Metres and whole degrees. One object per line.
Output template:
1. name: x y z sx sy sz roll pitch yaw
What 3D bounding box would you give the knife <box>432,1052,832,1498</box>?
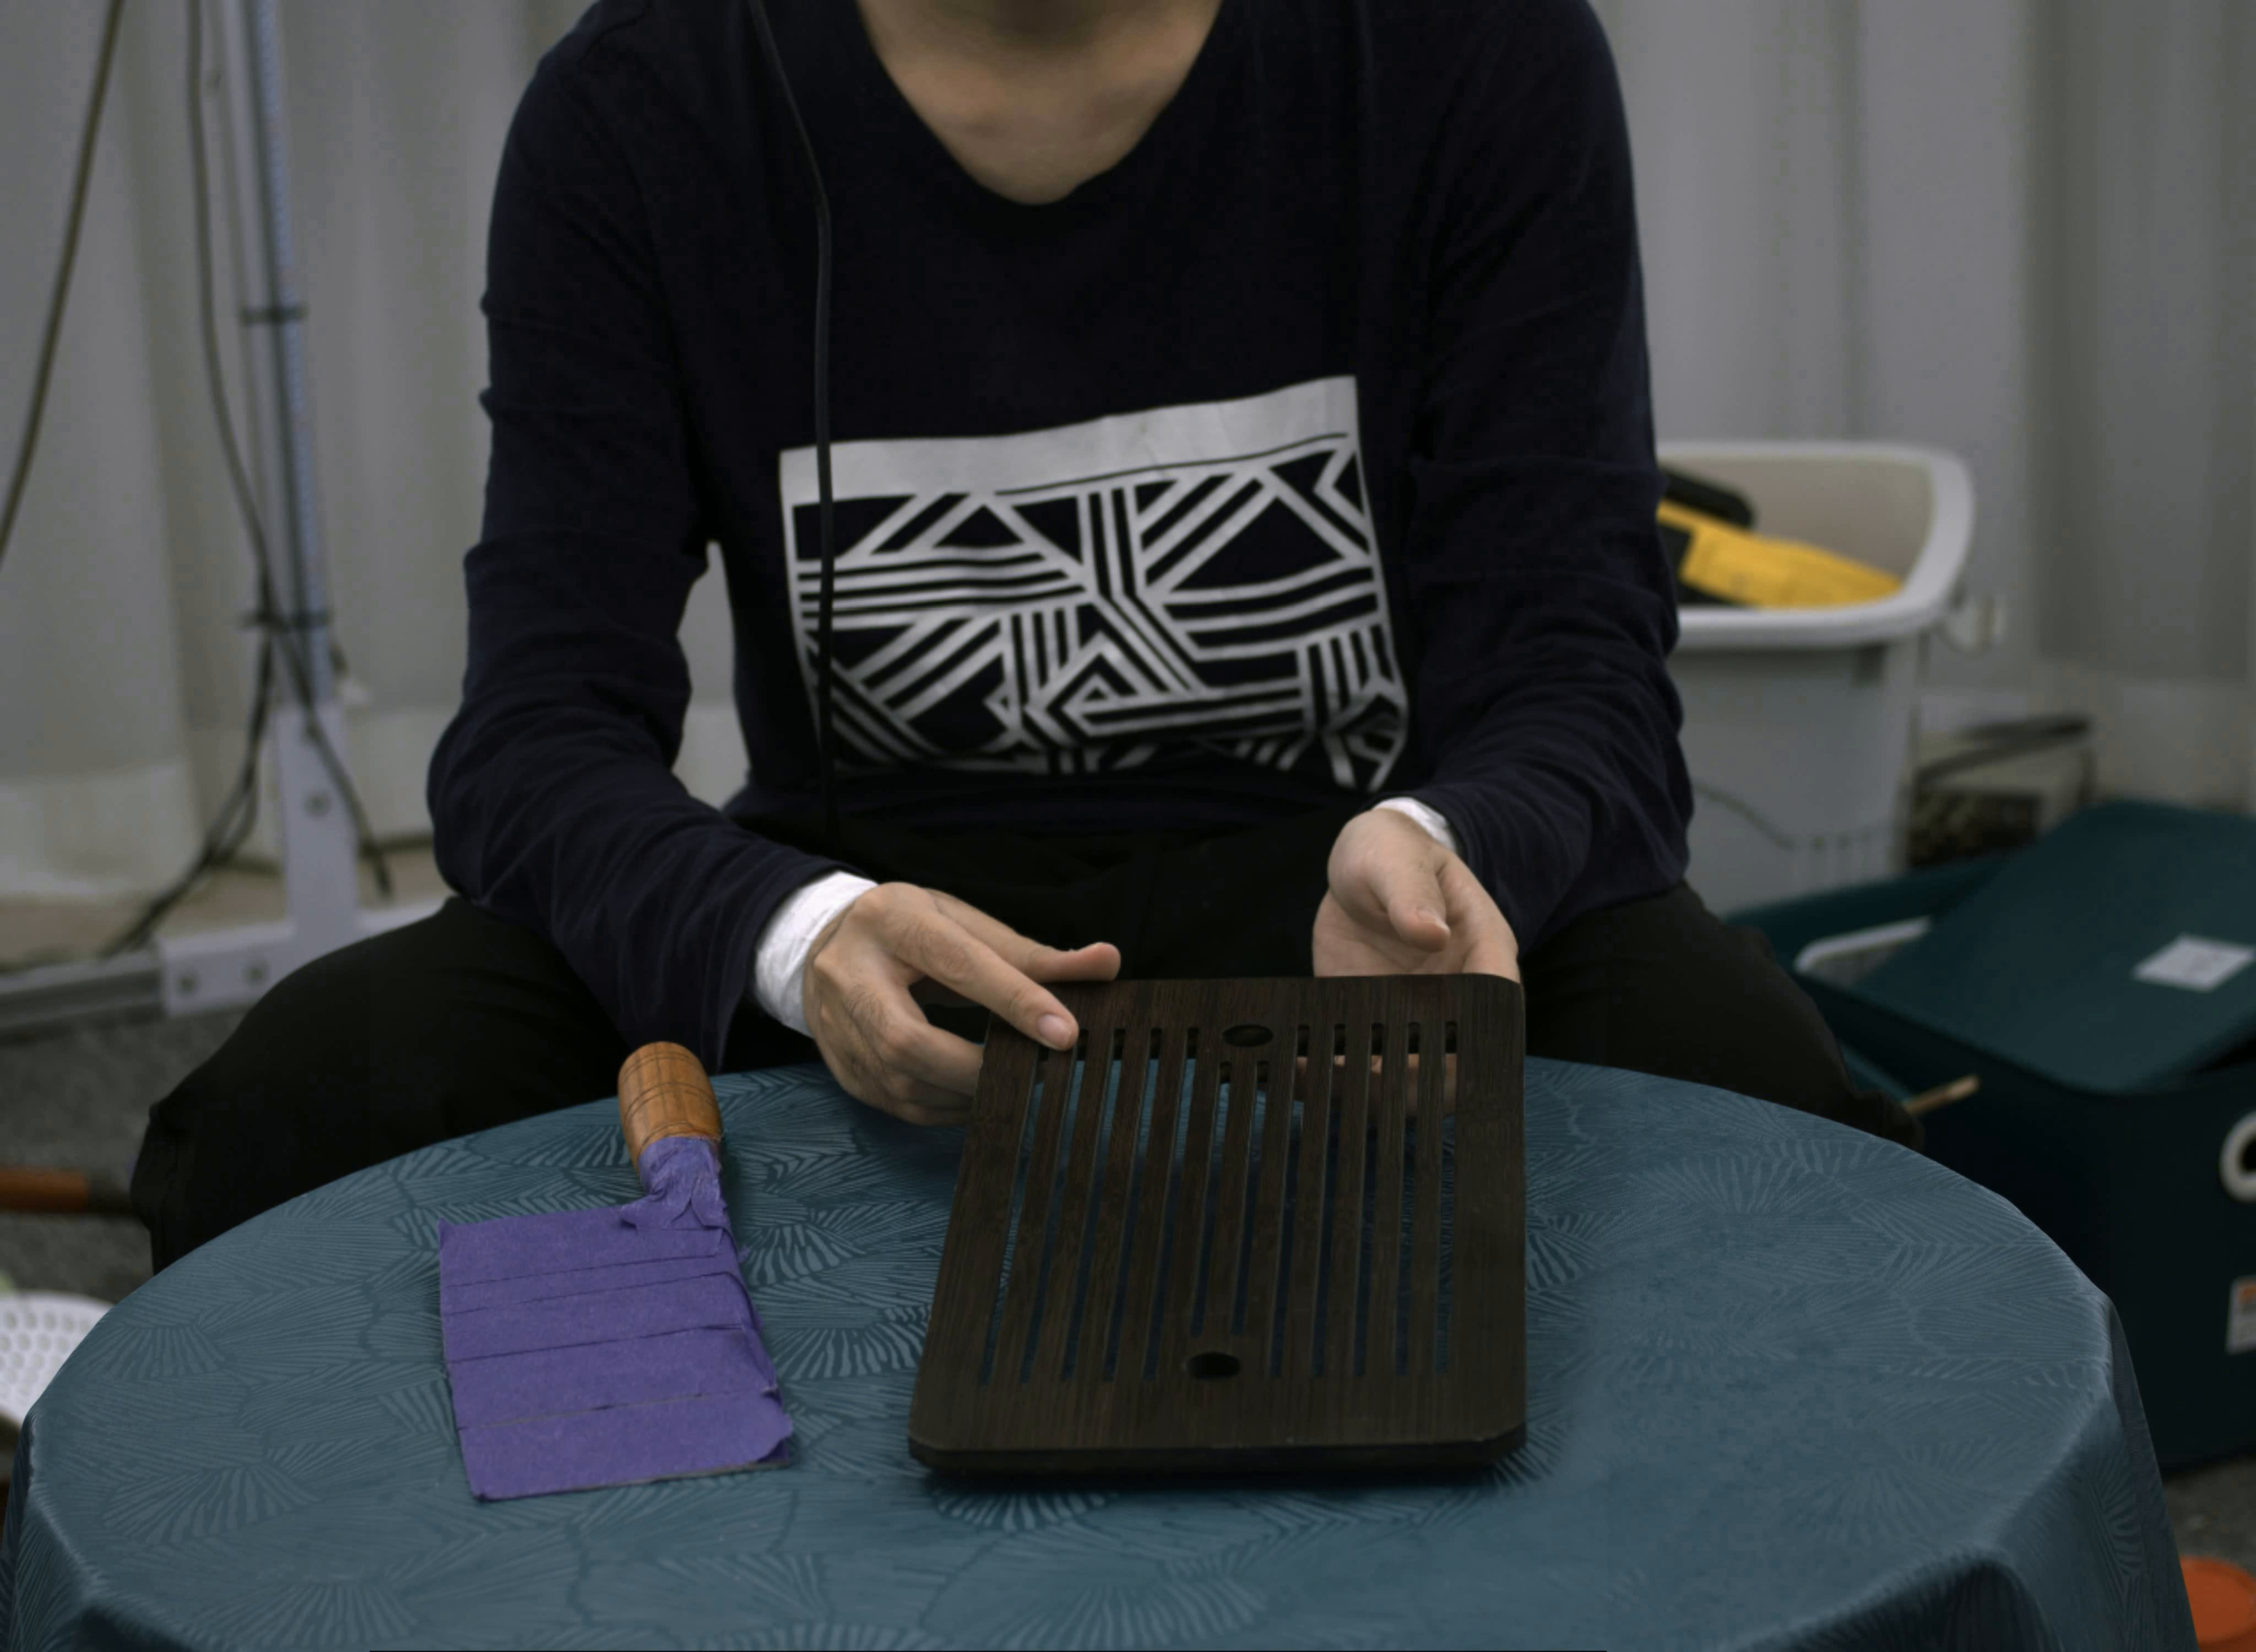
1. knife: -0.159 0.130 1.637 0.103 0.032 0.318 -5 15 -9

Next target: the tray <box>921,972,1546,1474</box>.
1. tray: 0.036 0.114 1.606 0.169 0.018 0.309 -2 22 4
